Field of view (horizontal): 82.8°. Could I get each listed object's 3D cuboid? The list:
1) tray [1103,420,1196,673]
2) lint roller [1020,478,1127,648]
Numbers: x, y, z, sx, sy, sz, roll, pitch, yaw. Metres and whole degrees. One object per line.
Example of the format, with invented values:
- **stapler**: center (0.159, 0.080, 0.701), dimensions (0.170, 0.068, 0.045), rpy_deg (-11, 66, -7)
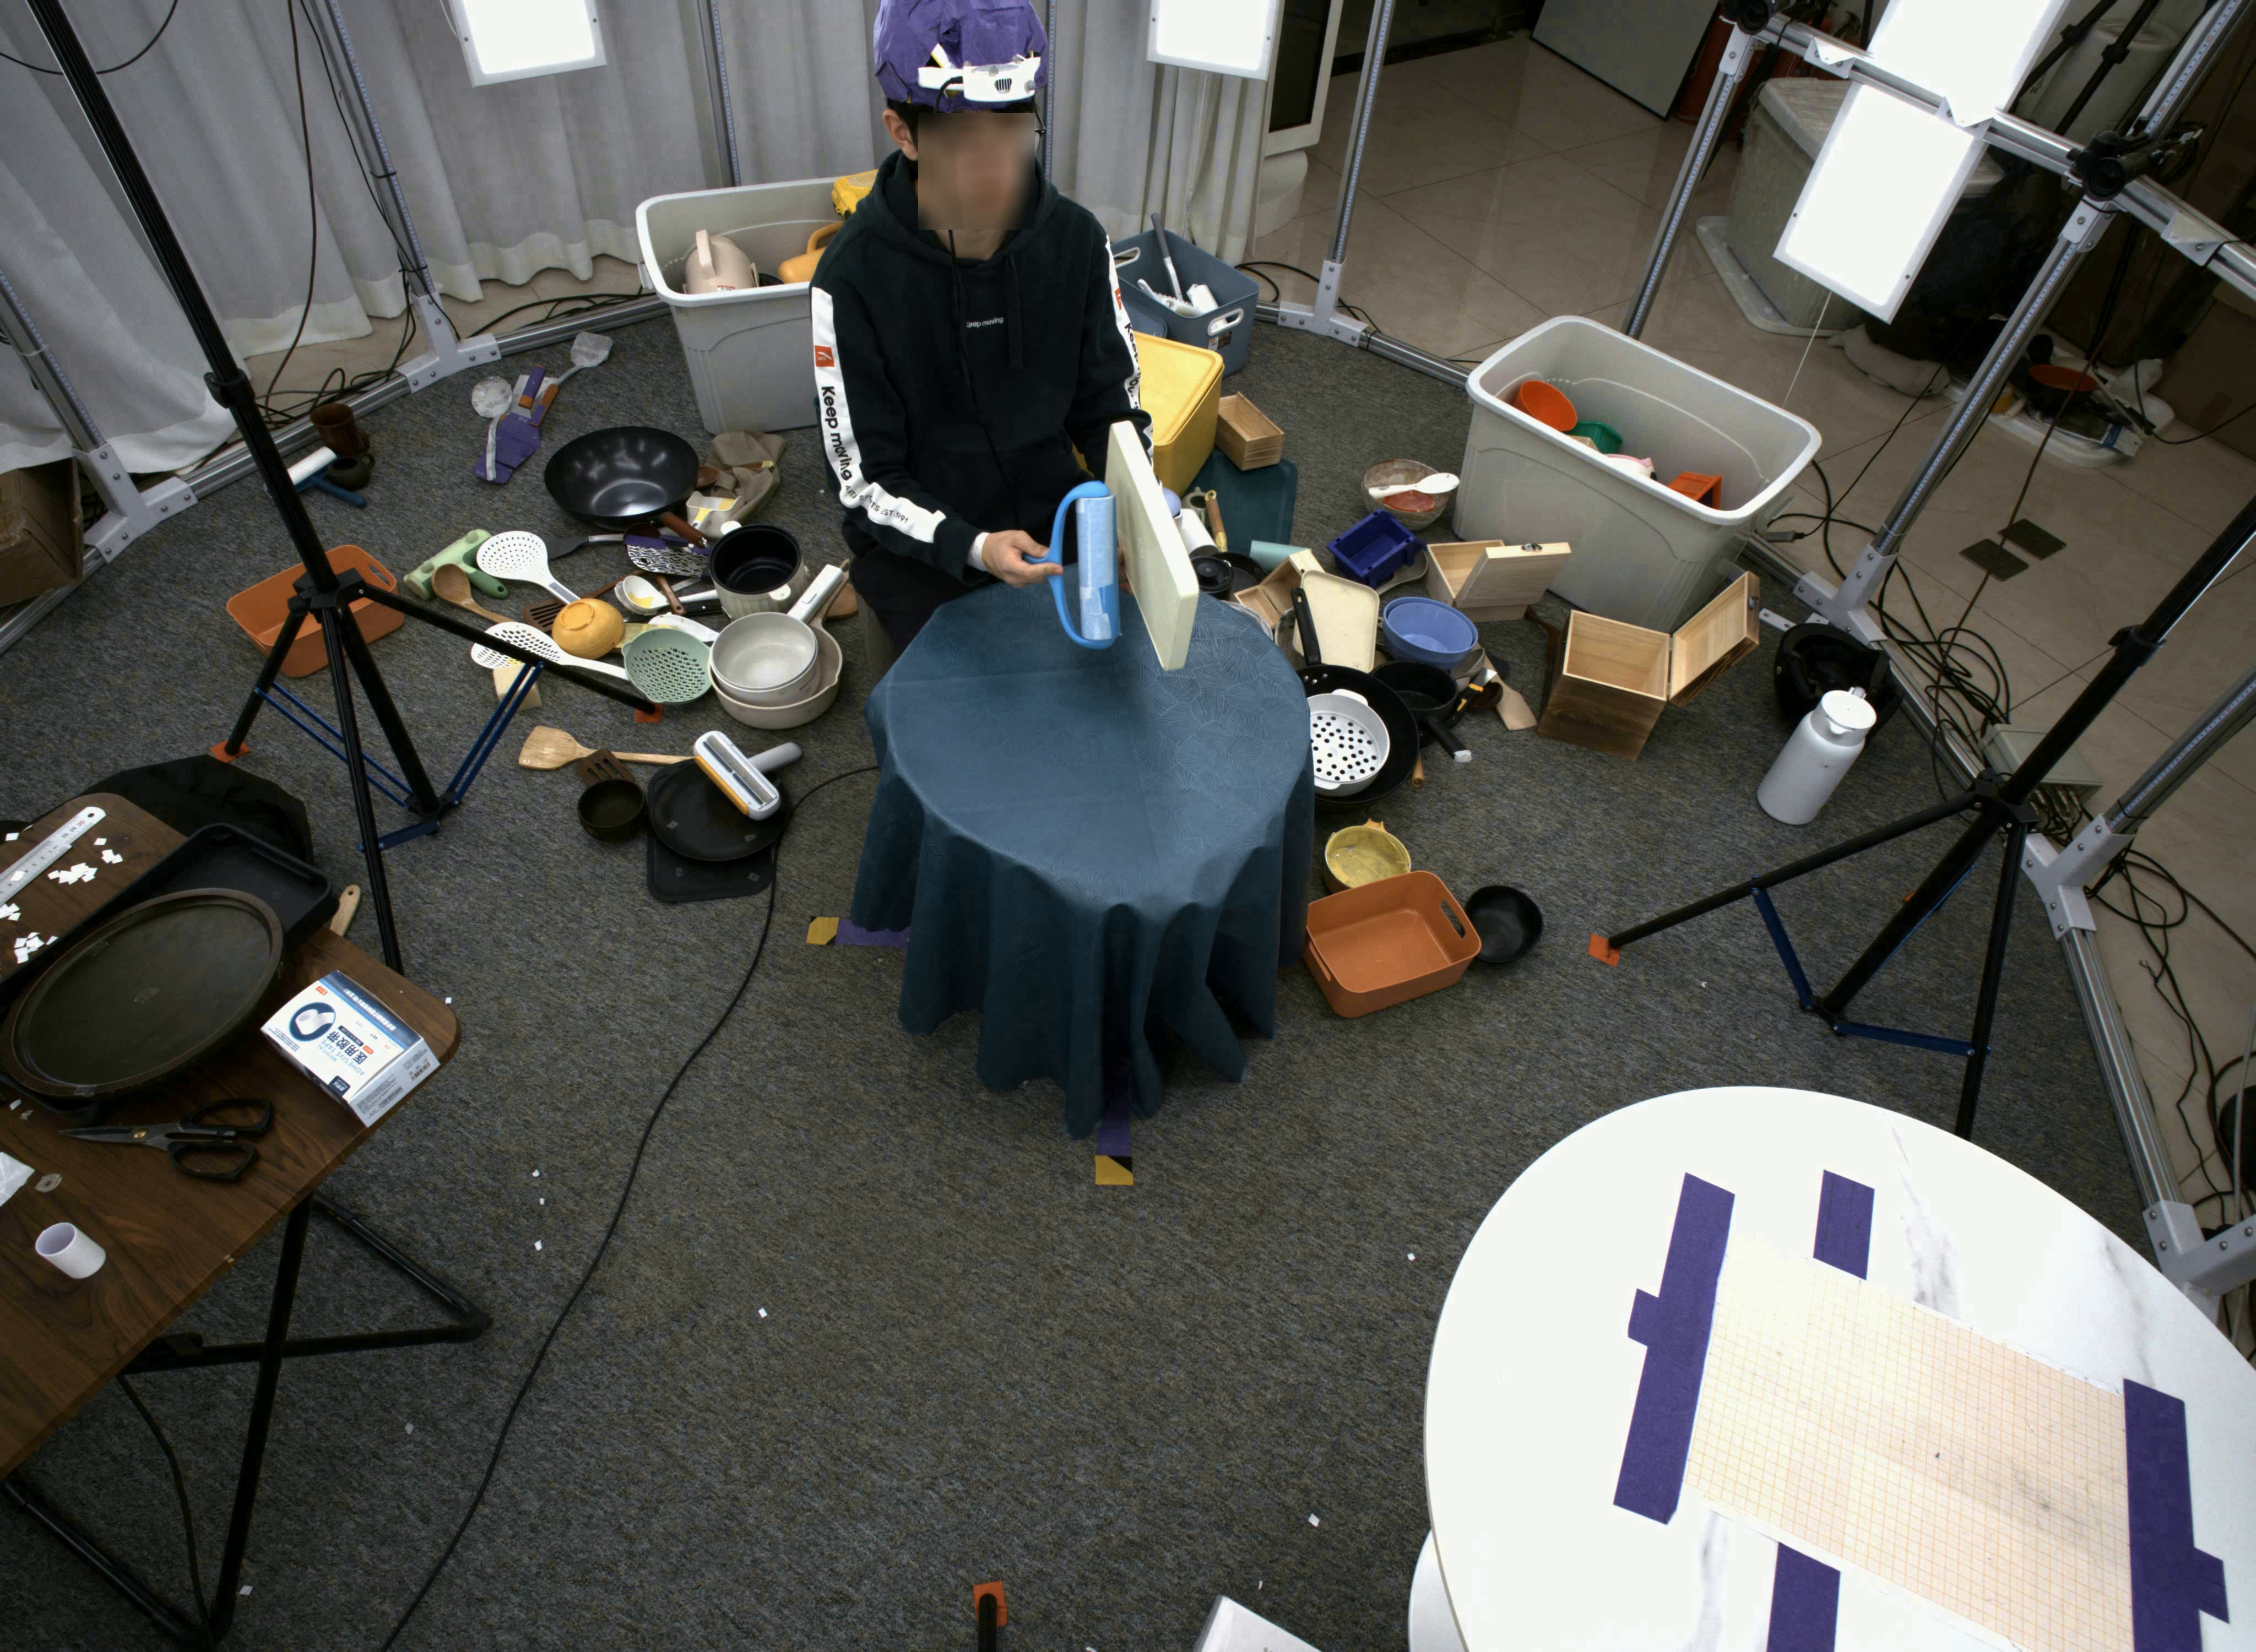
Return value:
- **tray**: center (0.023, -0.374, 1.729), dimensions (0.027, 0.187, 0.306), rpy_deg (-13, 62, -11)
- **lint roller**: center (-0.087, -0.361, 1.780), dimensions (0.181, 0.225, 0.068), rpy_deg (5, 22, 30)
